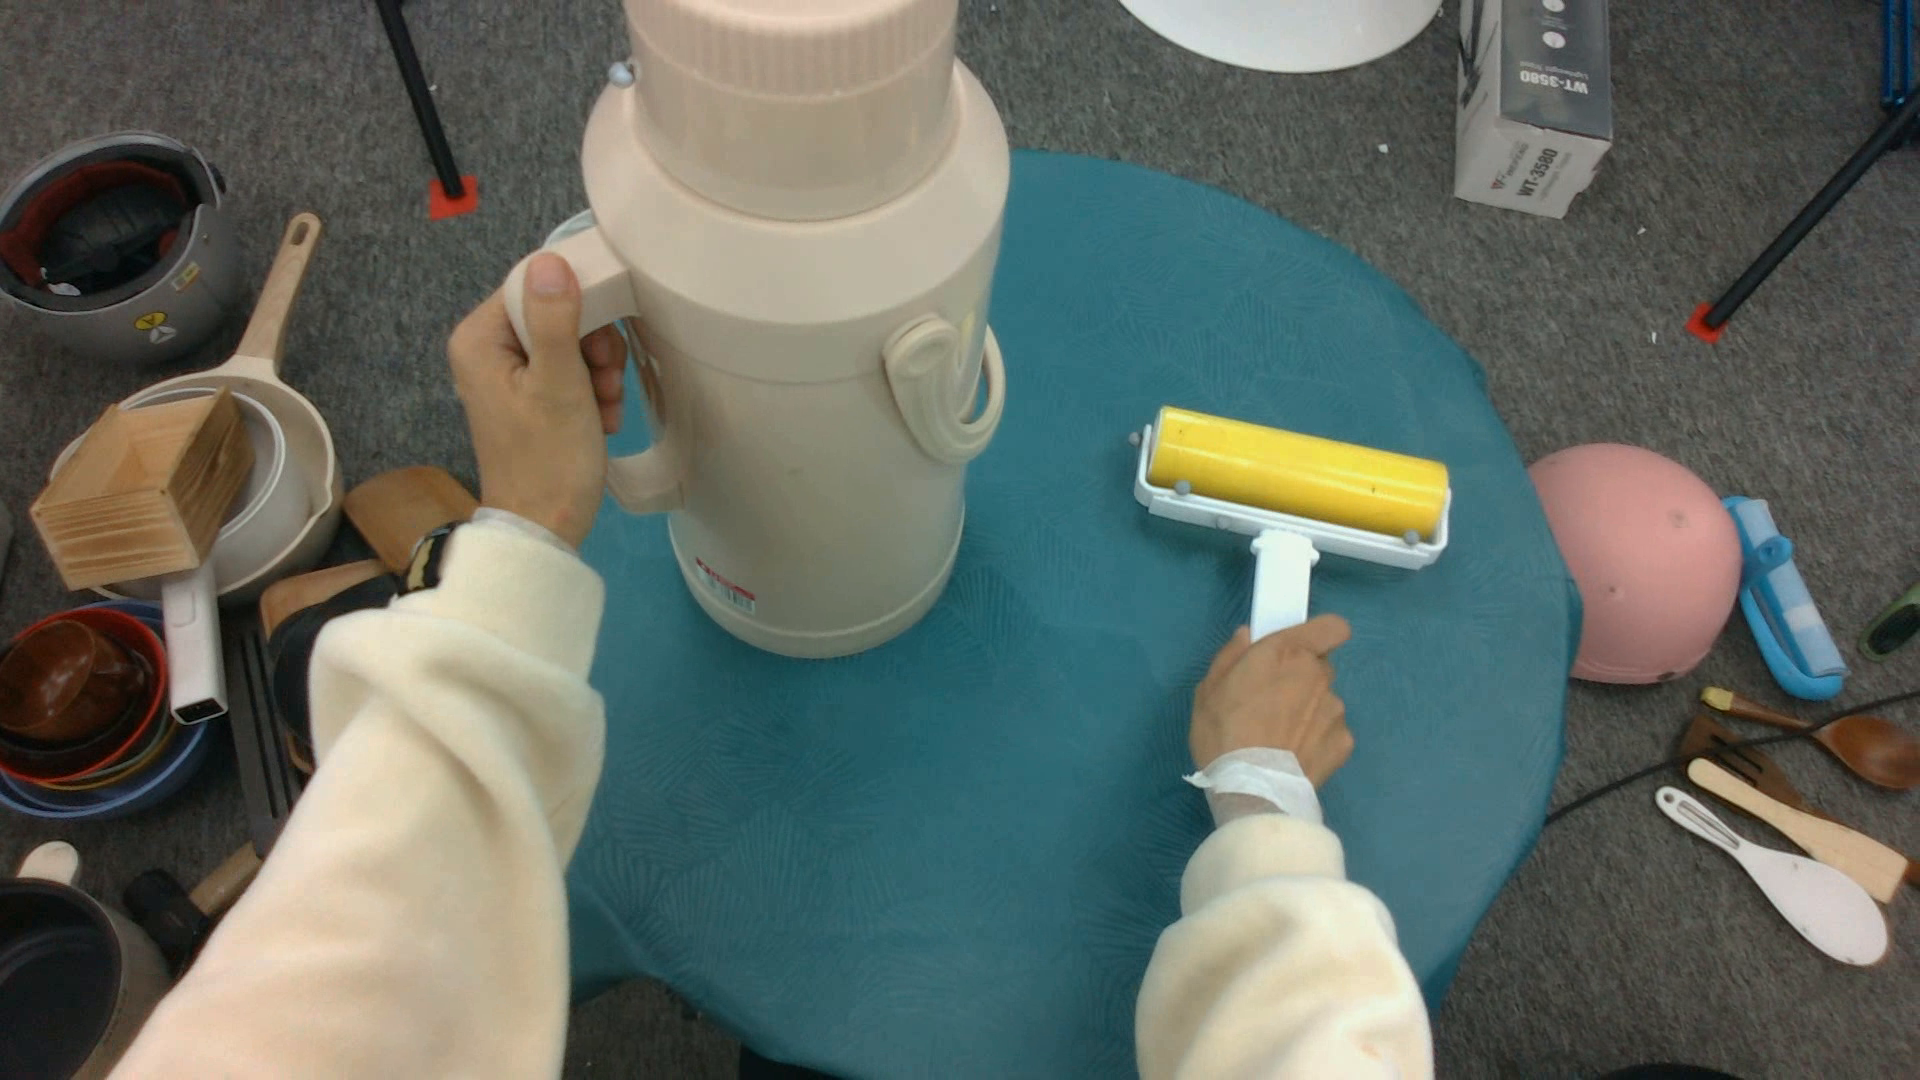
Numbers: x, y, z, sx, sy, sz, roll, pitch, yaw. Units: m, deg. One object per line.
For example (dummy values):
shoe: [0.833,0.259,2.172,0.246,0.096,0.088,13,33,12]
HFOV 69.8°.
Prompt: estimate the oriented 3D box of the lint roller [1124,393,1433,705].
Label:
lint roller: [0.170,0.002,0.731,0.174,0.051,0.193,11,40,1]

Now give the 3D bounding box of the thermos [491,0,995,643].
thermos: [-0.083,-0.100,0.591,0.207,0.404,0.175,-31,70,-19]
